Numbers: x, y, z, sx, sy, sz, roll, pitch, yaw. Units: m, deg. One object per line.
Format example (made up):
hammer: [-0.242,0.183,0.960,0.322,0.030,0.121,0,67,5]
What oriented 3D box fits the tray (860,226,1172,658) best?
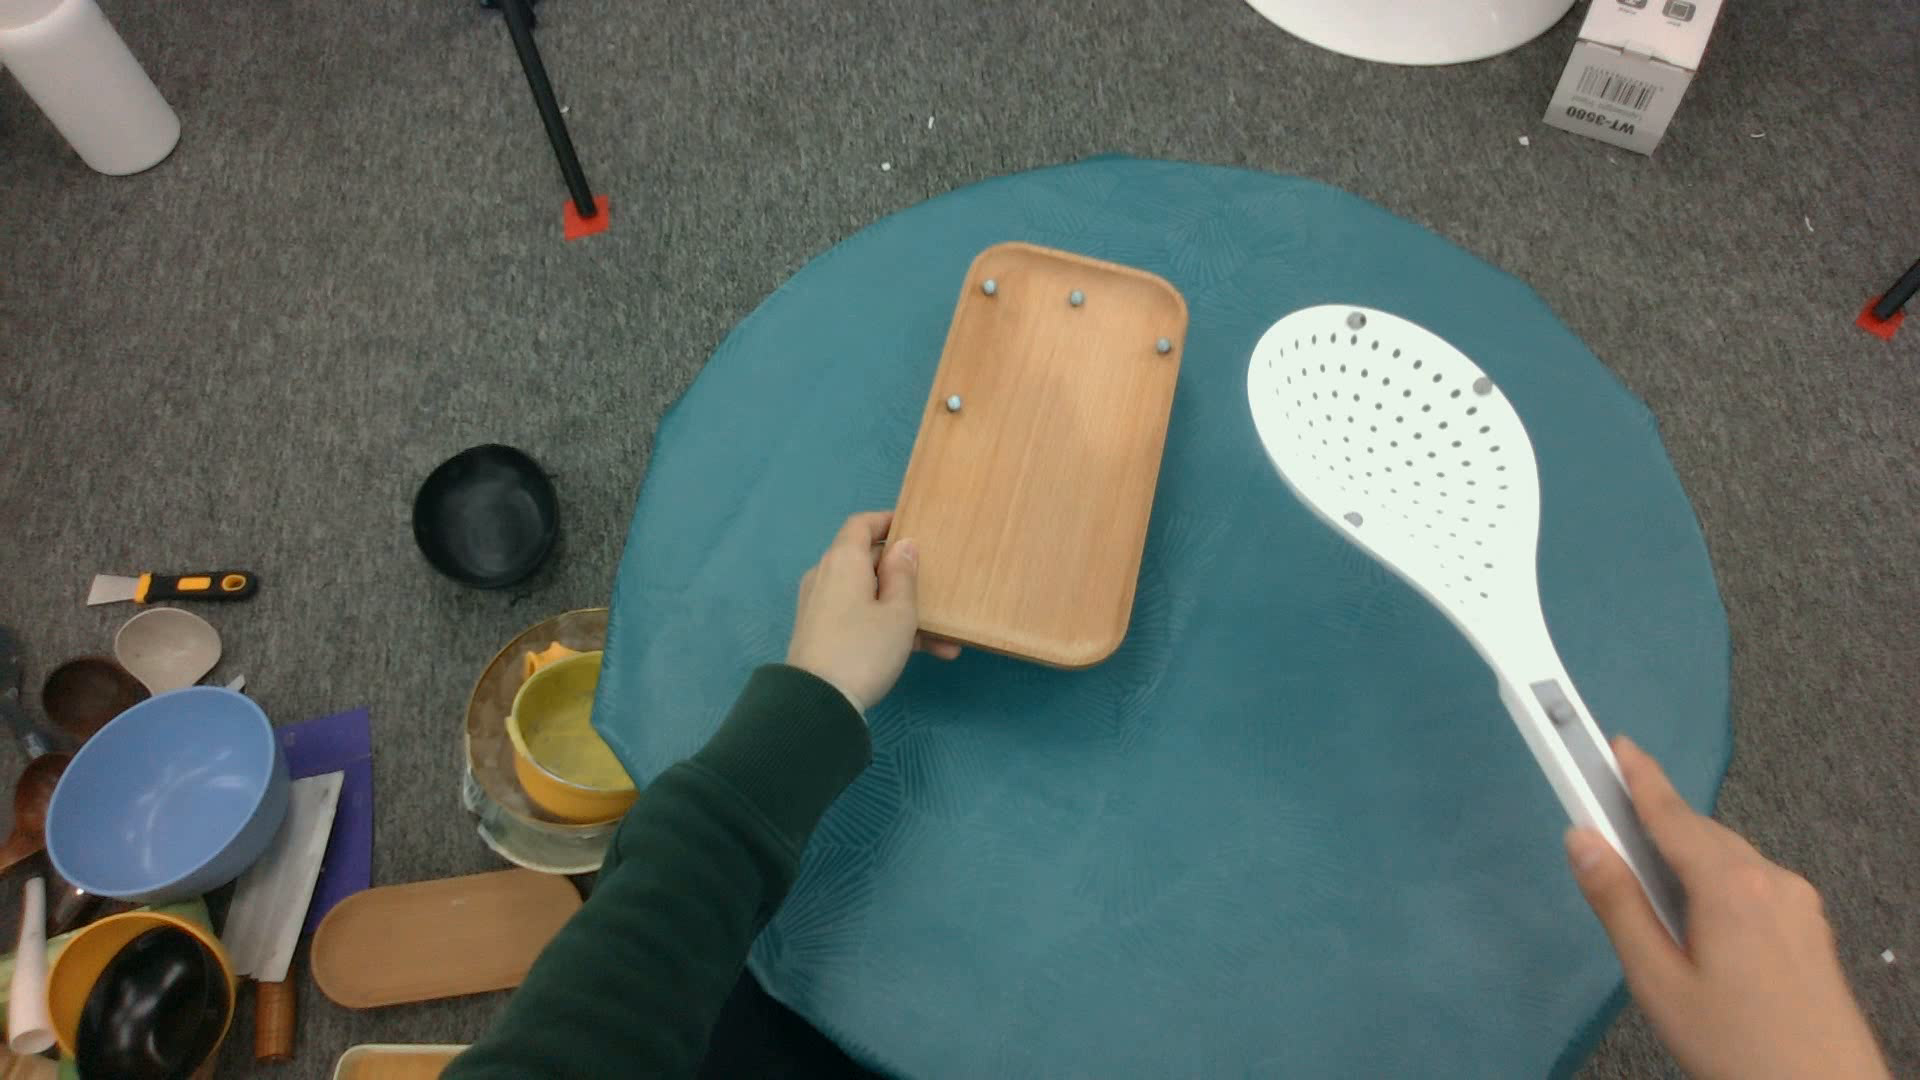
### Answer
tray: [0.034,-0.059,0.727,0.130,0.023,0.252,13,63,3]

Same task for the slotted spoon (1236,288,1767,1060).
slotted spoon: [0.217,0.034,0.561,0.136,0.045,0.351,-7,55,-23]
